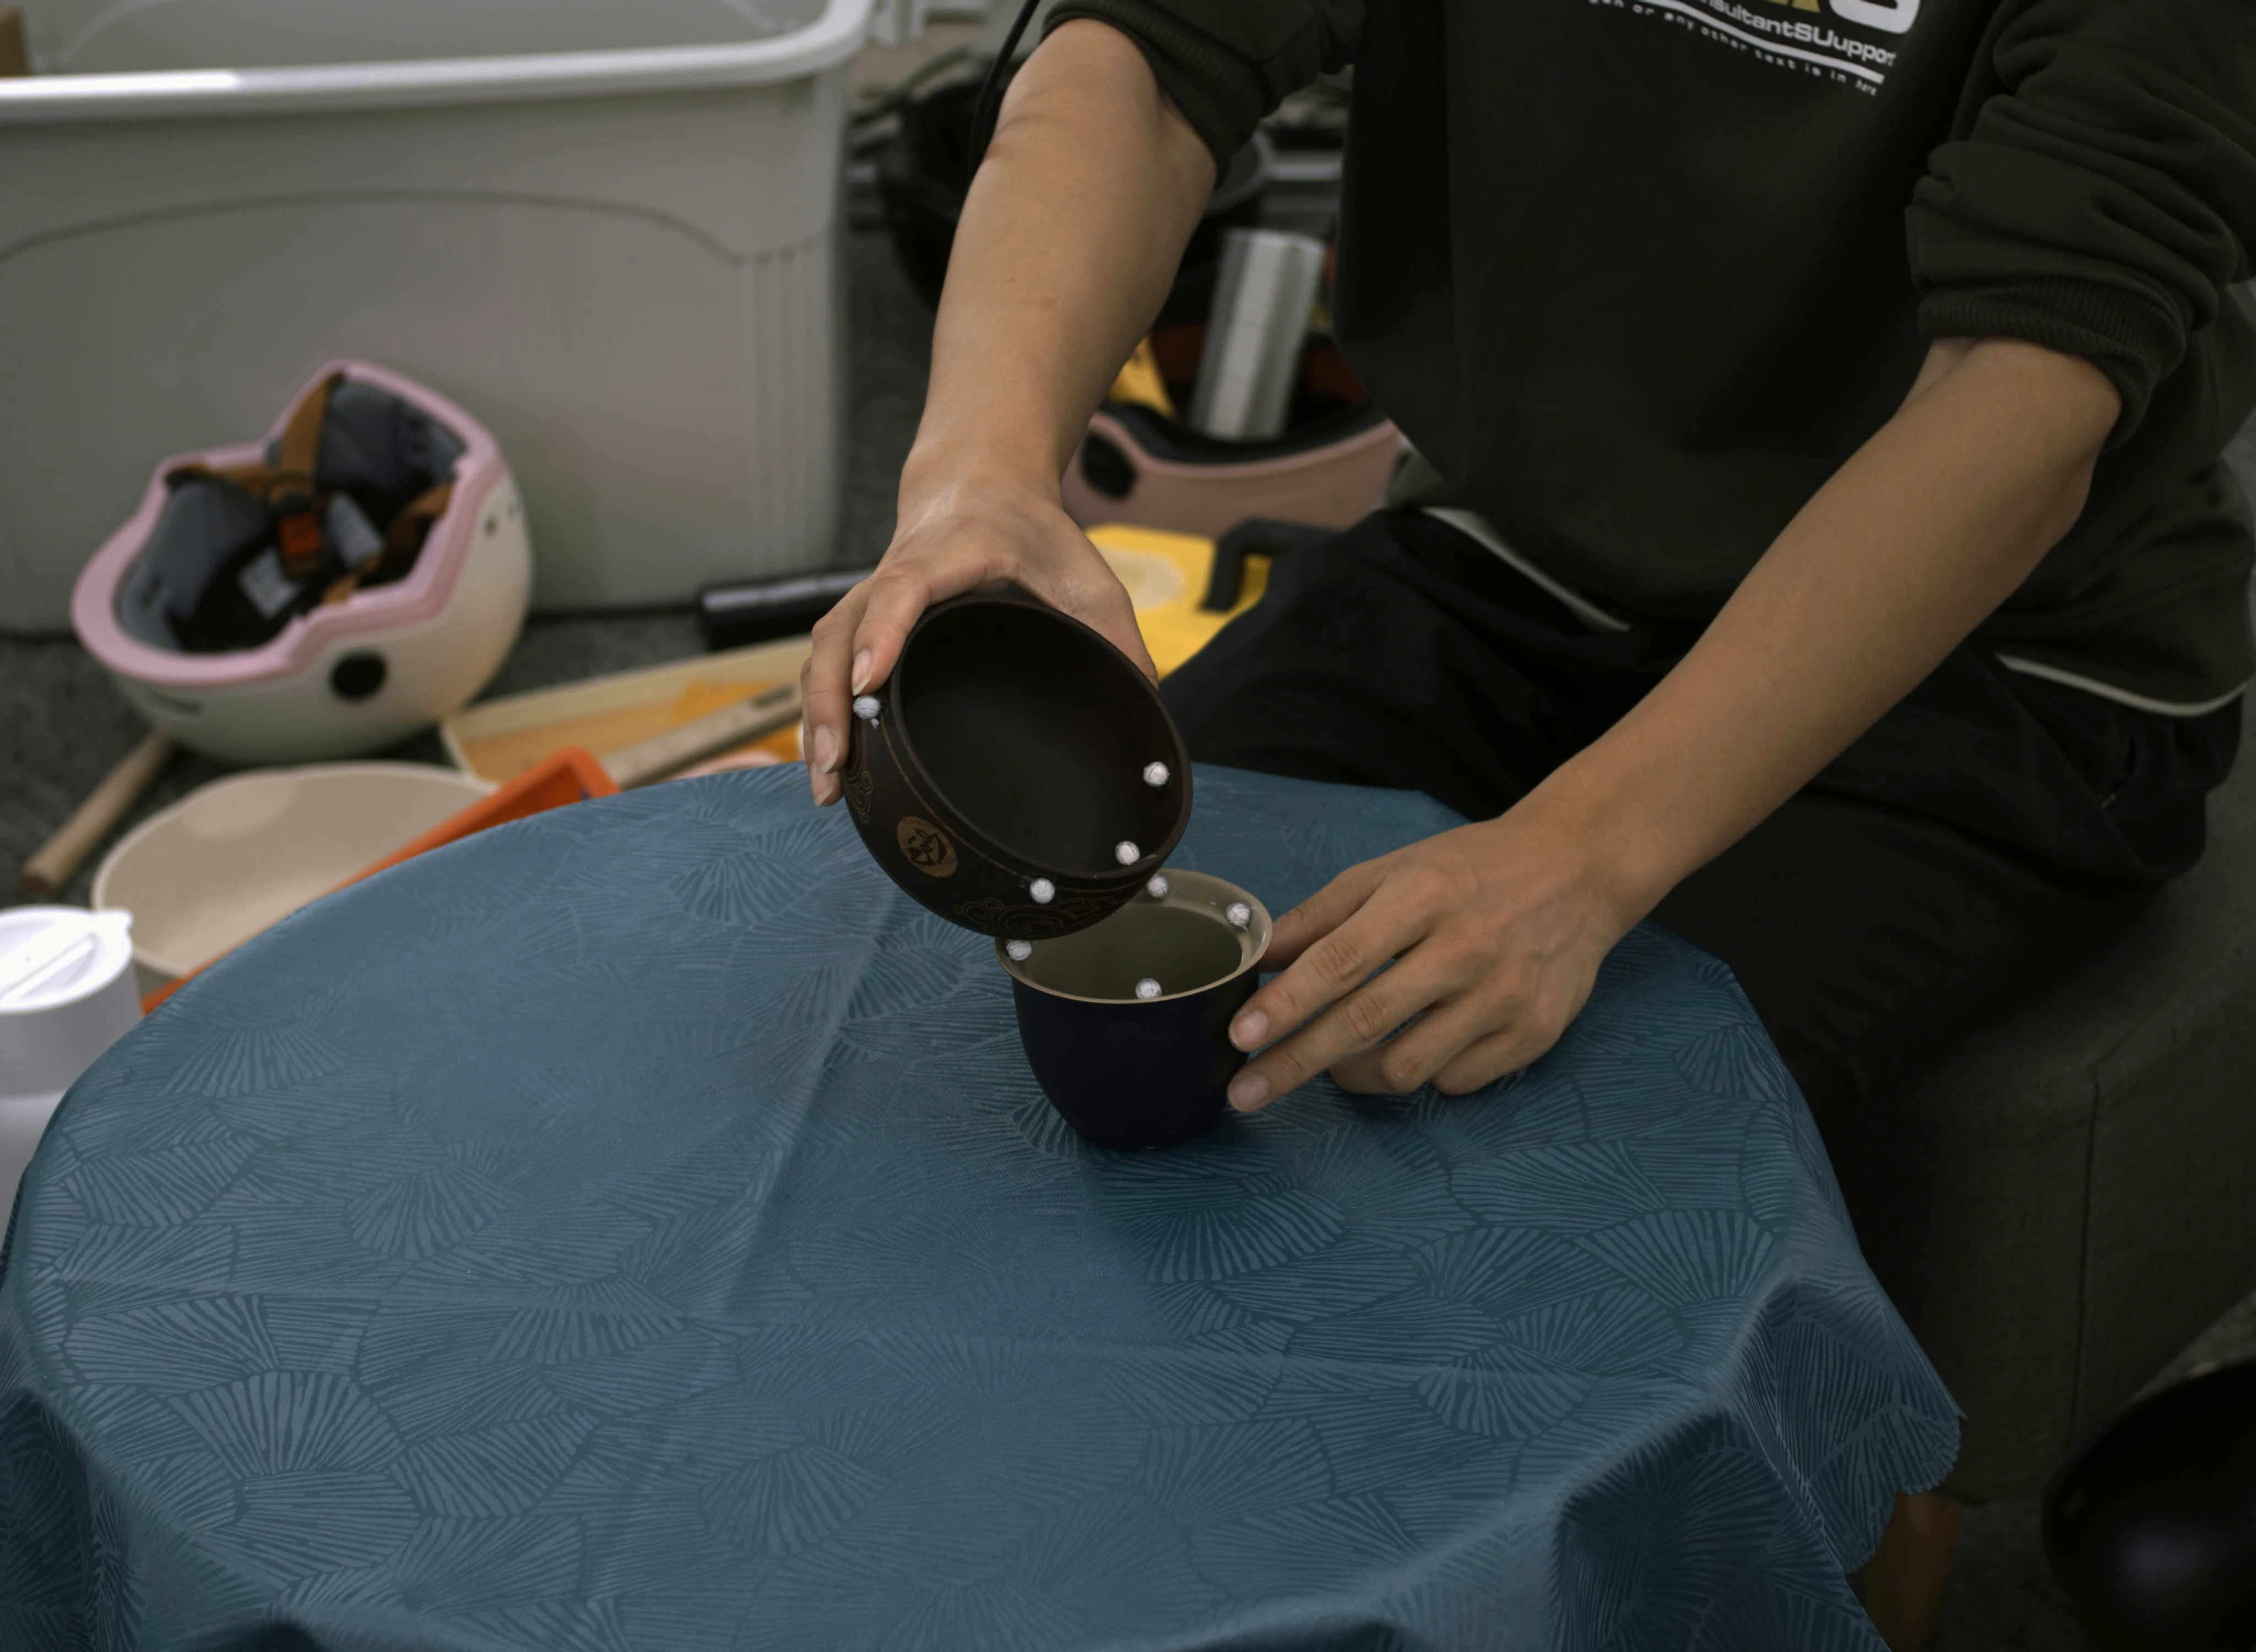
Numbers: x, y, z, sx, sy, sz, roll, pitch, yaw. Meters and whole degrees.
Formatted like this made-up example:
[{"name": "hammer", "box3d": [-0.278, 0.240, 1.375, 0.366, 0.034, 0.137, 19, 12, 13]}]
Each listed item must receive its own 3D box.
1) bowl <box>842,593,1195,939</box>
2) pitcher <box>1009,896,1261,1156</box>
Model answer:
[{"name": "bowl", "box3d": [-0.044, -0.012, 1.882, 0.117, 0.068, 0.120, 21, 43, -21]}, {"name": "pitcher", "box3d": [0.001, 0.067, 1.892, 0.096, 0.070, 0.085, 20, 37, 40]}]
